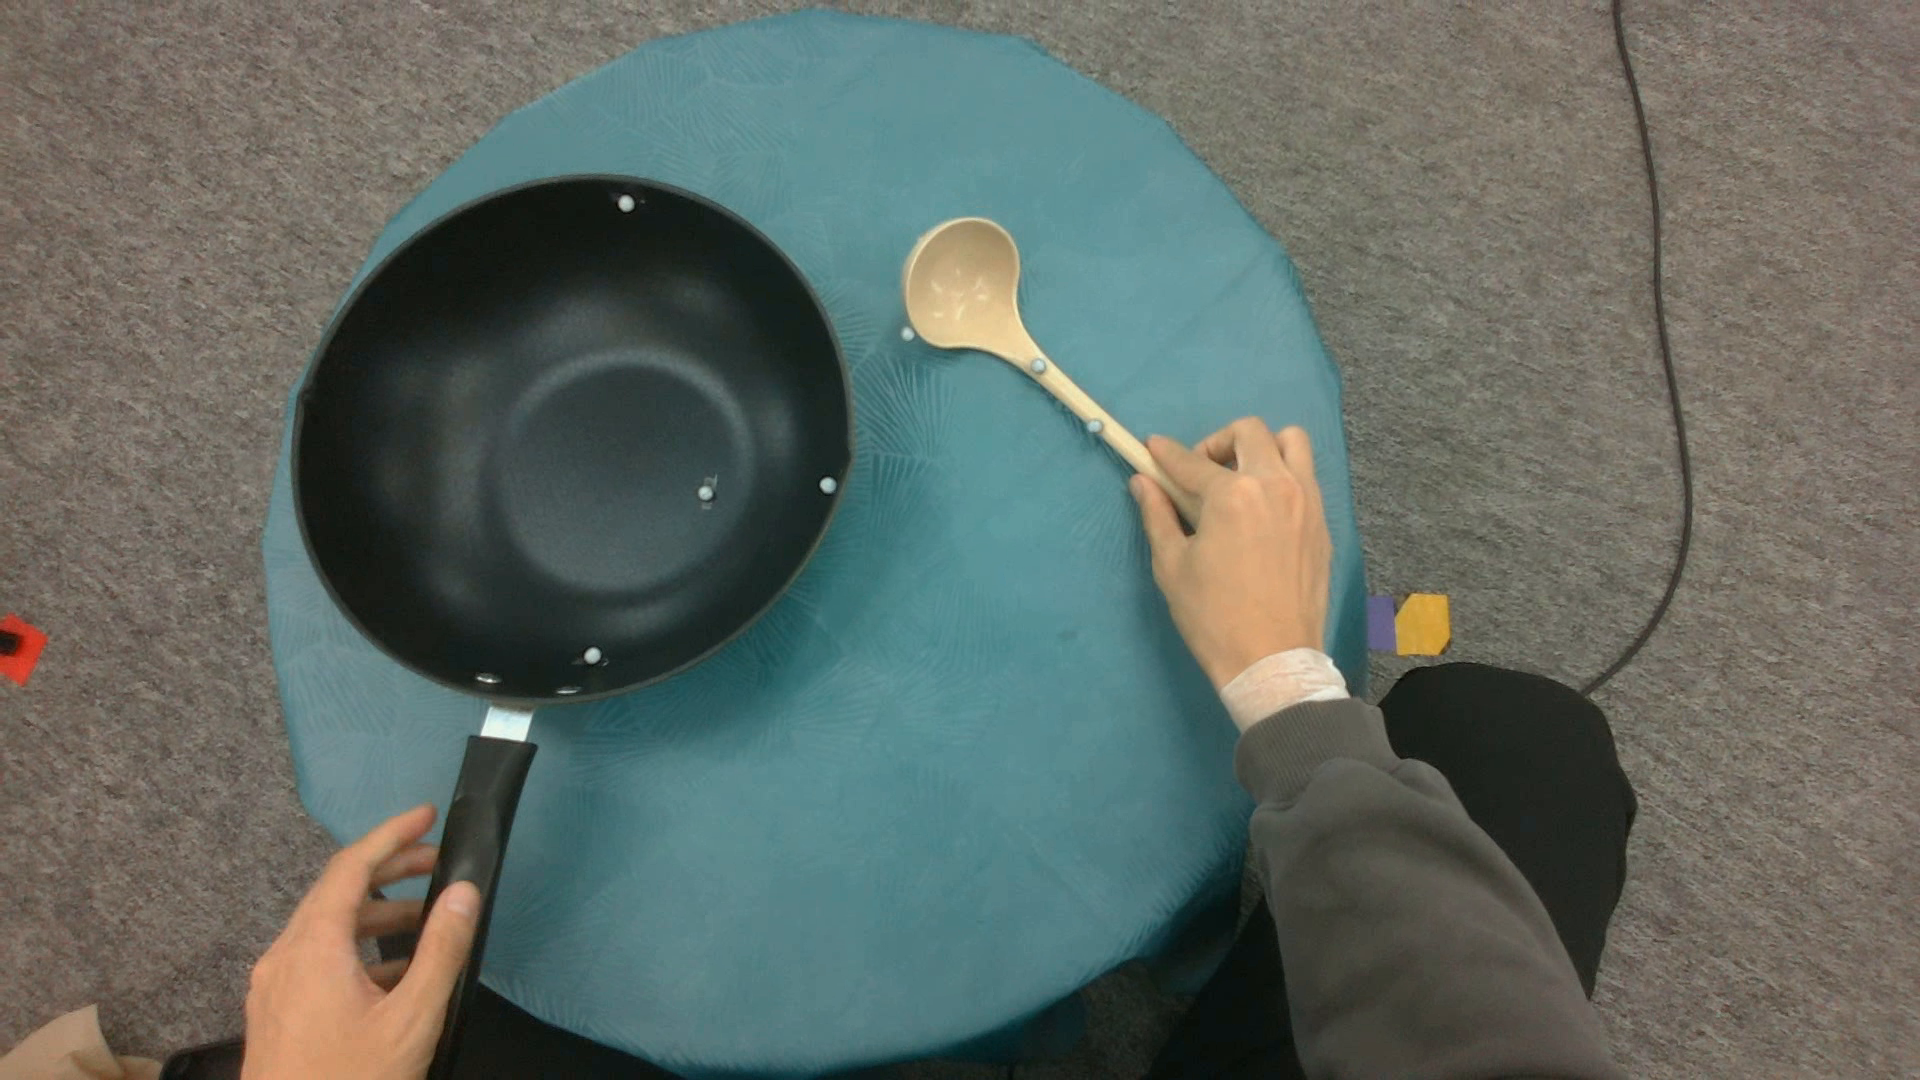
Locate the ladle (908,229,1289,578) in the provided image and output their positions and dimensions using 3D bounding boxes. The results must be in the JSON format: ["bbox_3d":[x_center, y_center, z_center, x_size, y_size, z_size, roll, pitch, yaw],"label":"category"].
[{"bbox_3d":[0.076,-0.072,0.731,0.254,0.072,0.072,42,85,16],"label":"ladle"}]

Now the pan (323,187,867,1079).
[{"bbox_3d":[-0.200,0.043,0.717,0.288,0.086,0.464,8,76,6],"label":"pan"}]
